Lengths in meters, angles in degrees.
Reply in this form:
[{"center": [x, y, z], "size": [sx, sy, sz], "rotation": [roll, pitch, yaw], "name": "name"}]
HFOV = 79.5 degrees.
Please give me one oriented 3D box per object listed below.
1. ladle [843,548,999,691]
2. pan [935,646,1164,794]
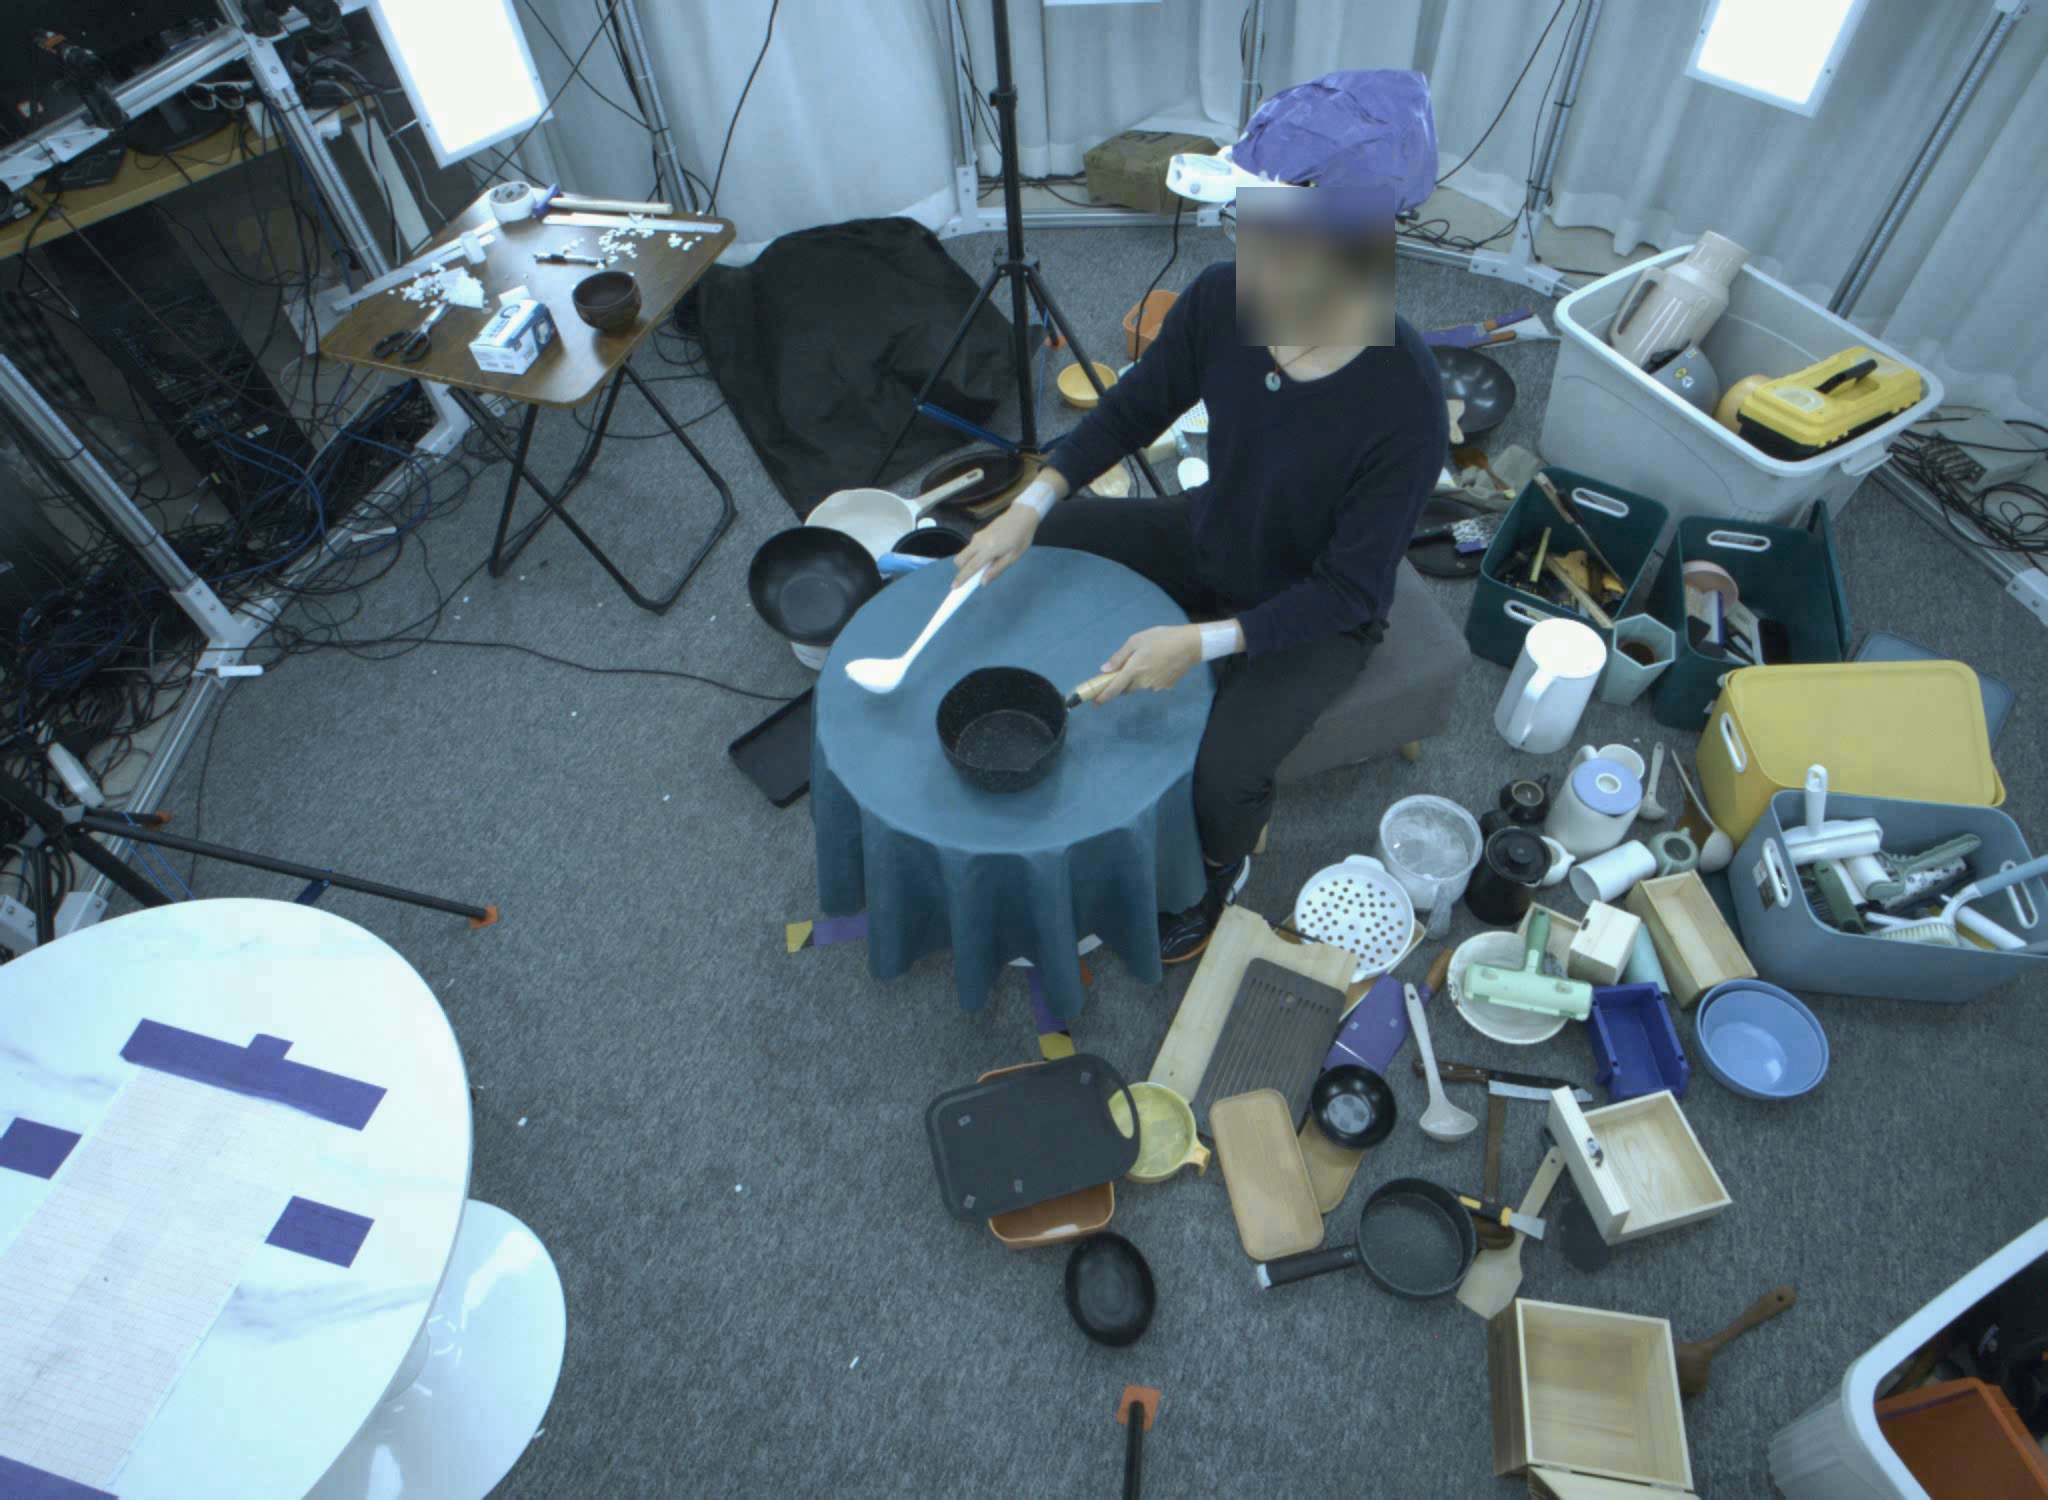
[{"center": [-0.149, -0.199, 1.820], "size": [0.293, 0.071, 0.088], "rotation": [-51, 42, -12], "name": "ladle"}, {"center": [0.042, -0.057, 1.759], "size": [0.345, 0.109, 0.203], "rotation": [-22, 56, -11], "name": "pan"}]
